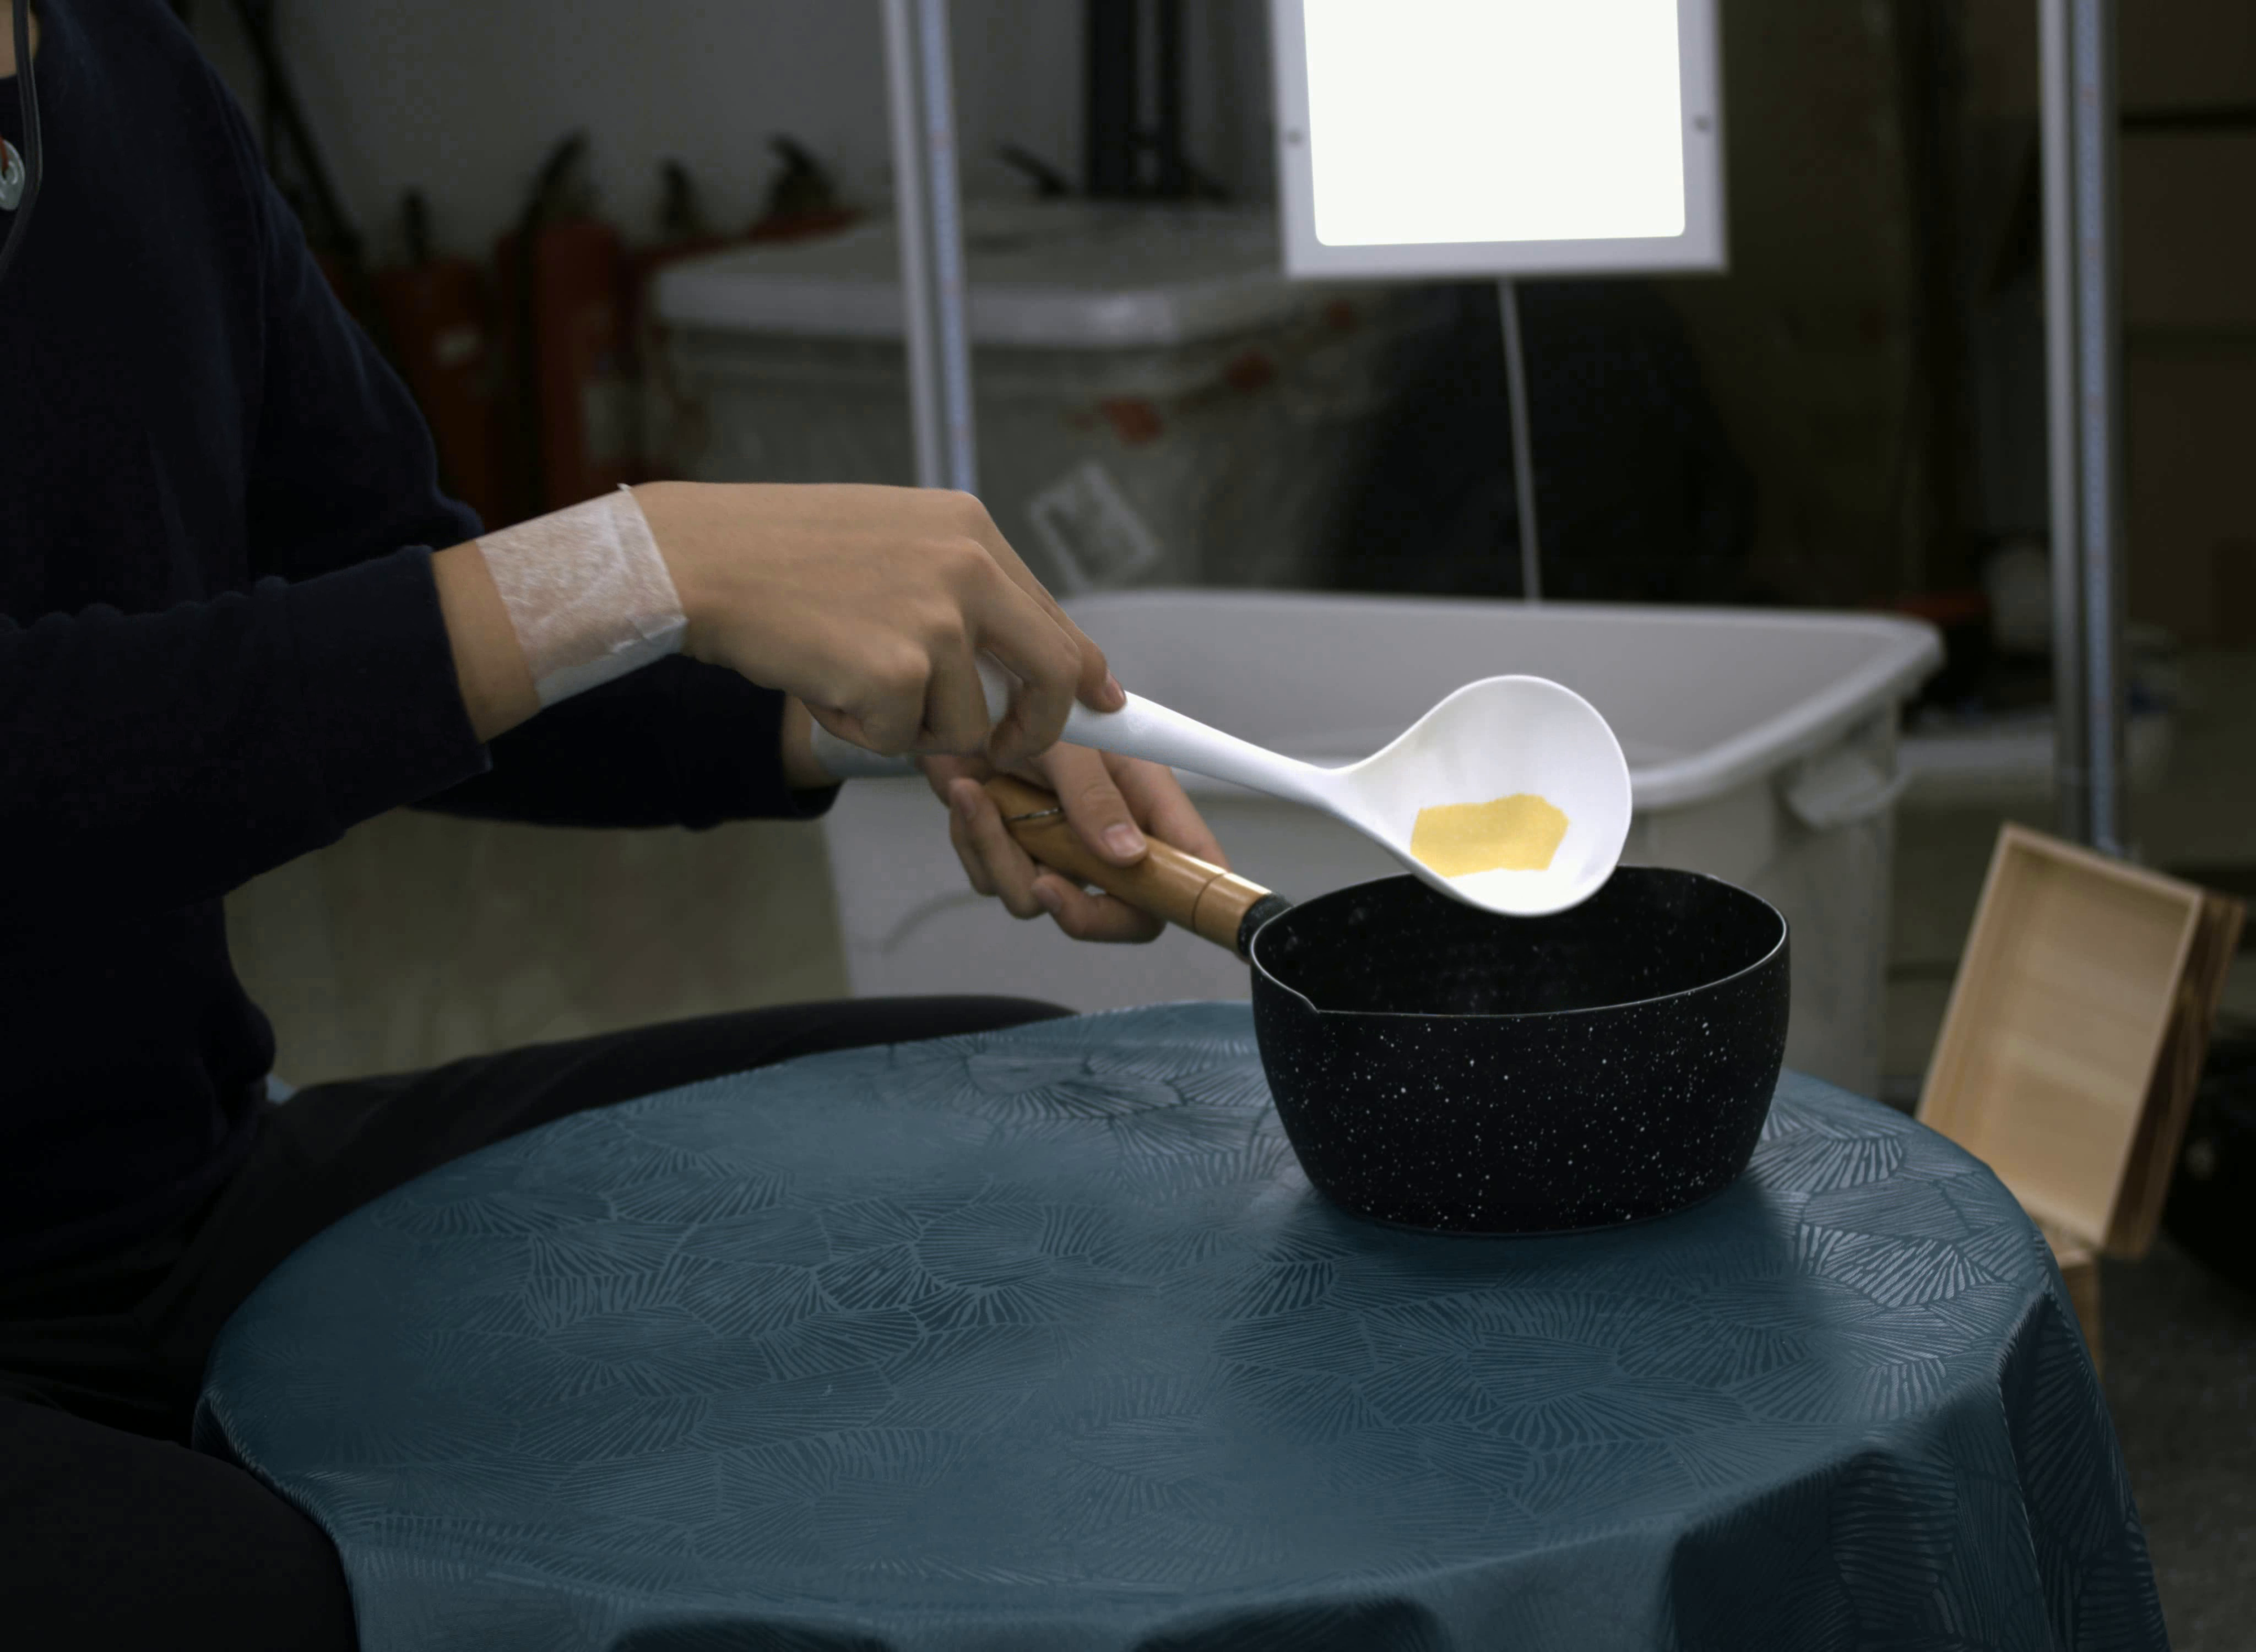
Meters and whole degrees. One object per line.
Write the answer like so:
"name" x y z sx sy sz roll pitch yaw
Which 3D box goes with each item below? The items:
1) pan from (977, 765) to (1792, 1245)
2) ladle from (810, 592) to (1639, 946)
"pan" 0.075 0.055 1.921 0.350 0.108 0.202 11 22 42
"ladle" 0.036 -0.028 1.781 0.286 0.090 0.071 17 -25 -33
